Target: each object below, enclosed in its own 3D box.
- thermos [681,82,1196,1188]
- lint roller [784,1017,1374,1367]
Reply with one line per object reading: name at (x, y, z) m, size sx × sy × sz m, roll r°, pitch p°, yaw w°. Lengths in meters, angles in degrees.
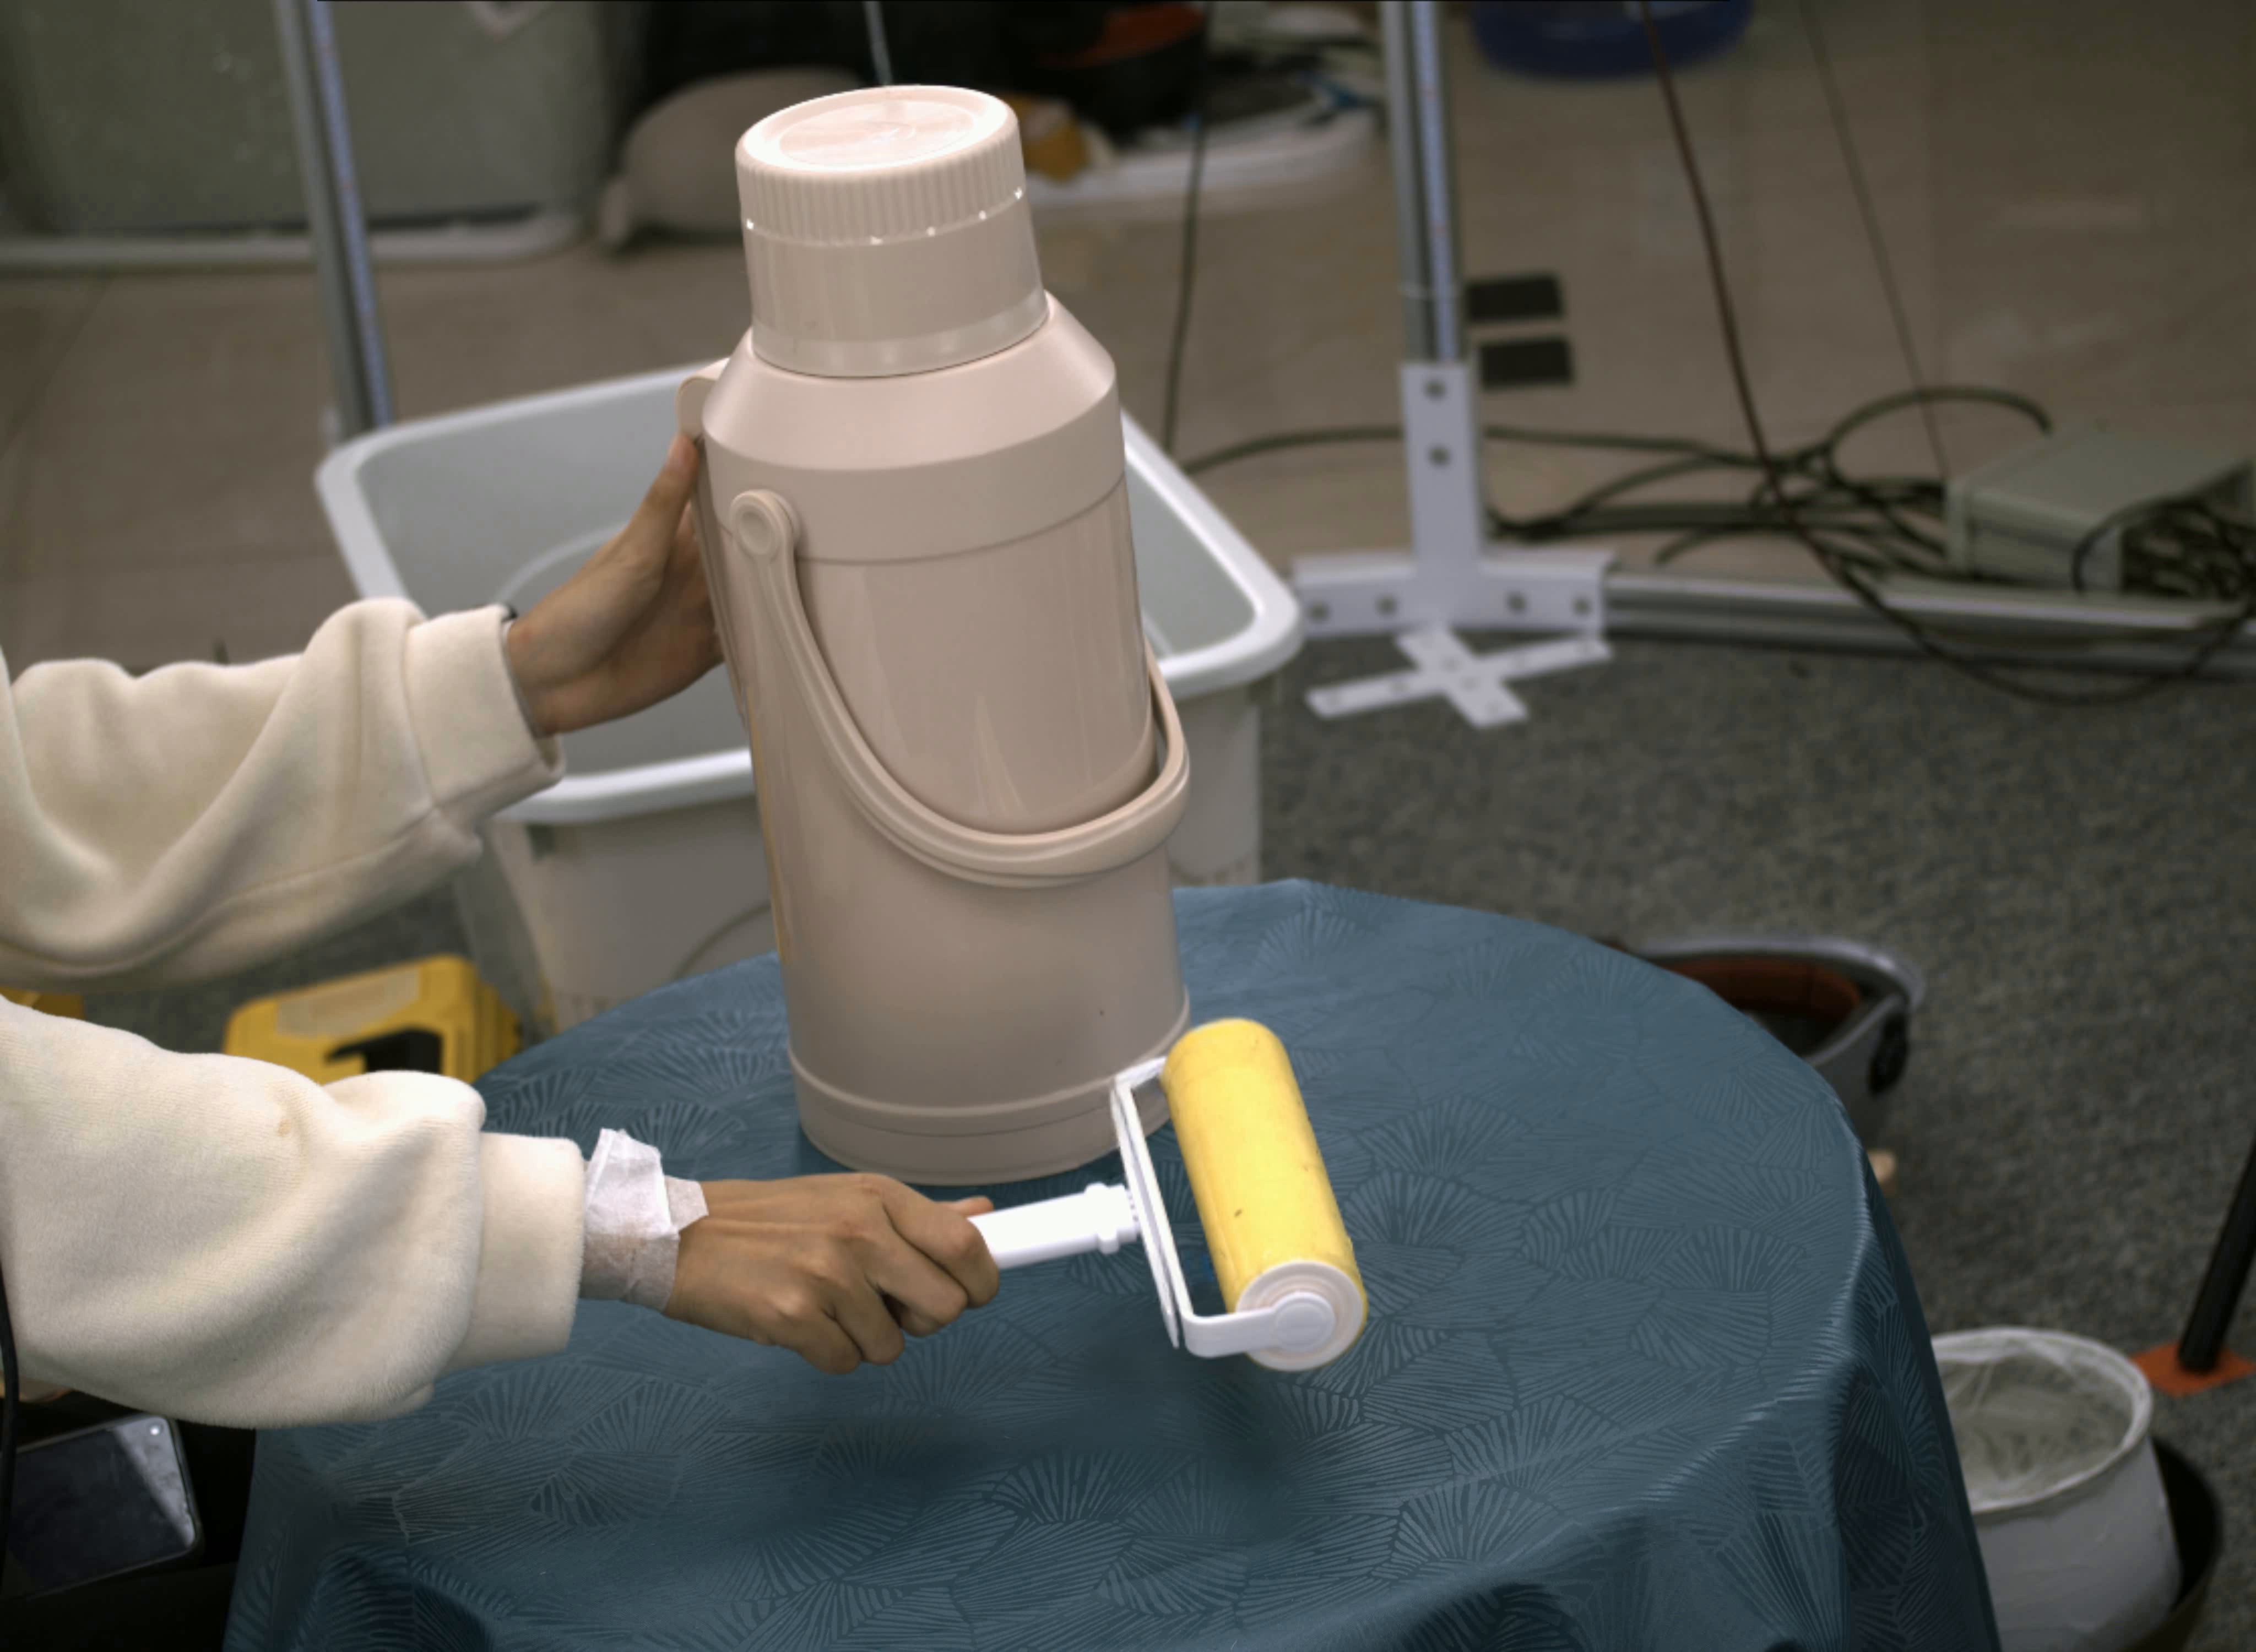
thermos at (-0.081, -0.076, 2.154) m, size 0.205 × 0.413 × 0.173 m, roll 15°, pitch 34°, yaw 38°
lint roller at (-0.024, 0.131, 1.970) m, size 0.192 × 0.052 × 0.171 m, roll -2°, pitch 29°, yaw -9°
